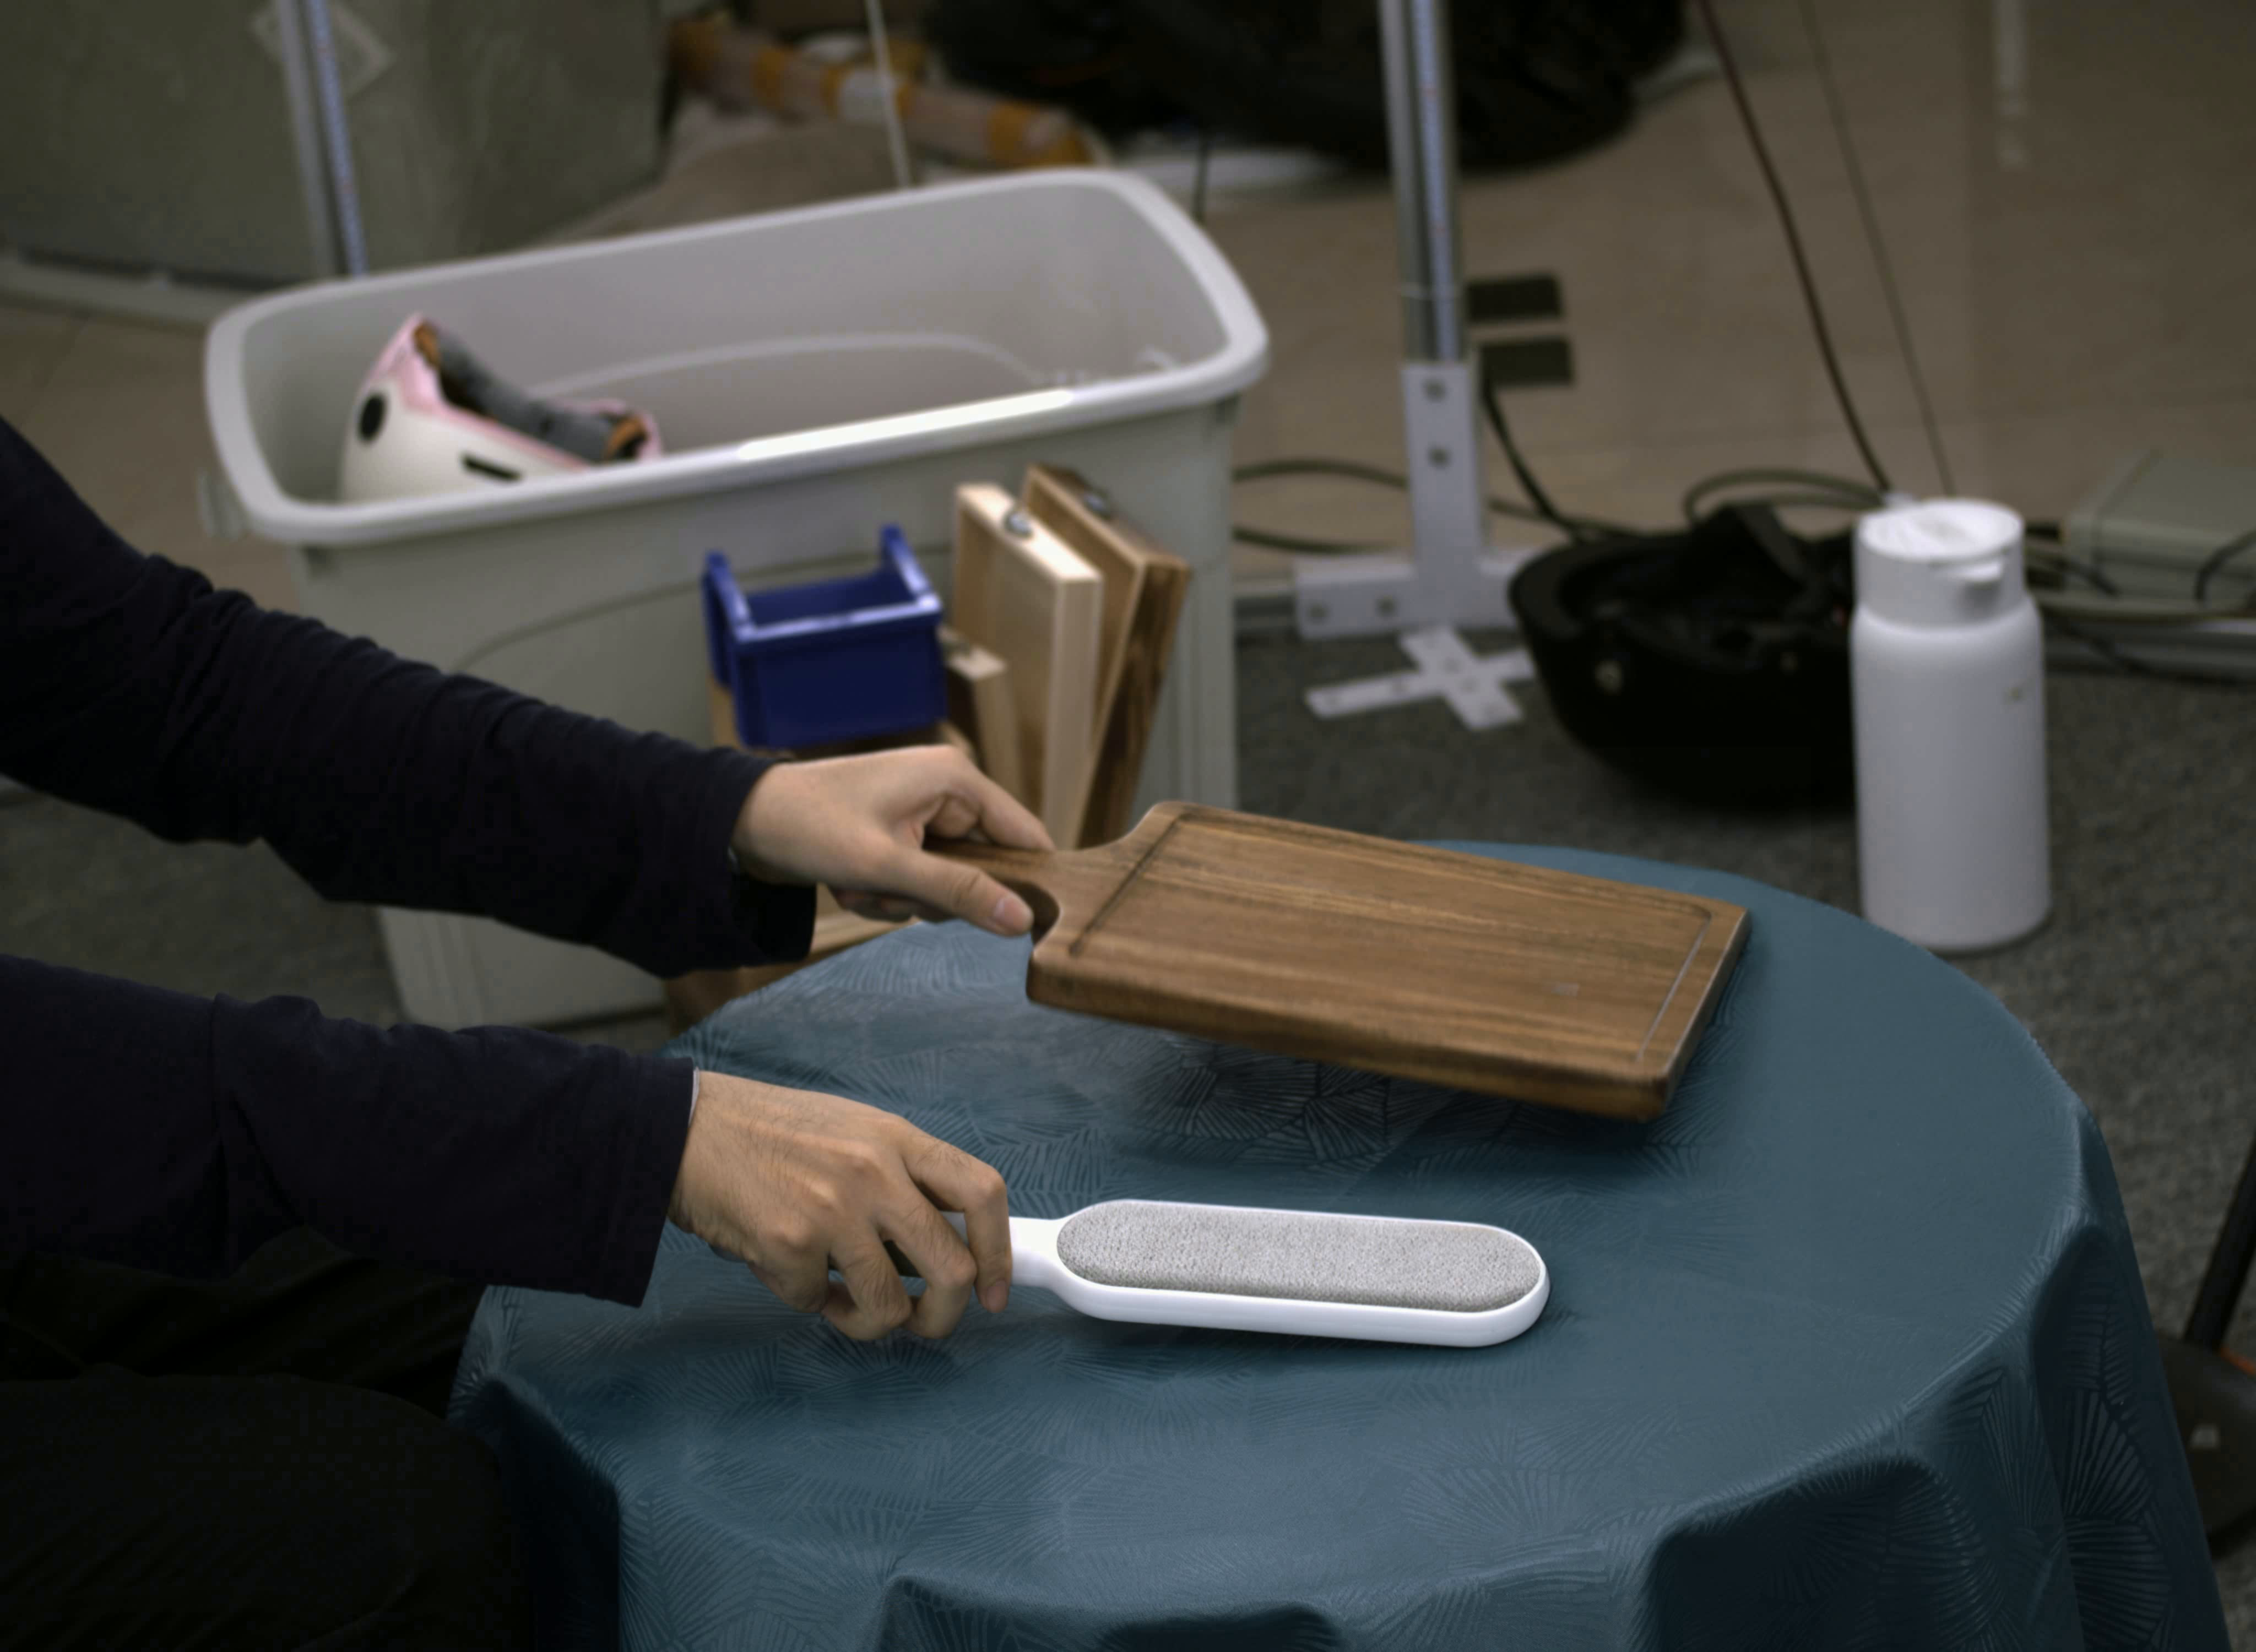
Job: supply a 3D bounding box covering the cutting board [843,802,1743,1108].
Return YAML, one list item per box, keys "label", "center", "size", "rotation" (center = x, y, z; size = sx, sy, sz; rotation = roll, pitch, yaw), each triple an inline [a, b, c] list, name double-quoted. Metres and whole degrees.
- label: "cutting board"
  center: [0.056, 0.039, 2.234]
  size: [0.351, 0.023, 0.199]
  rotation: [10, 21, 13]

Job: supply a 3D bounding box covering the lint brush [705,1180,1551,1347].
- label: "lint brush"
  center: [-0.002, 0.153, 2.051]
  size: [0.308, 0.021, 0.059]
  rotation: [4, 42, 8]
